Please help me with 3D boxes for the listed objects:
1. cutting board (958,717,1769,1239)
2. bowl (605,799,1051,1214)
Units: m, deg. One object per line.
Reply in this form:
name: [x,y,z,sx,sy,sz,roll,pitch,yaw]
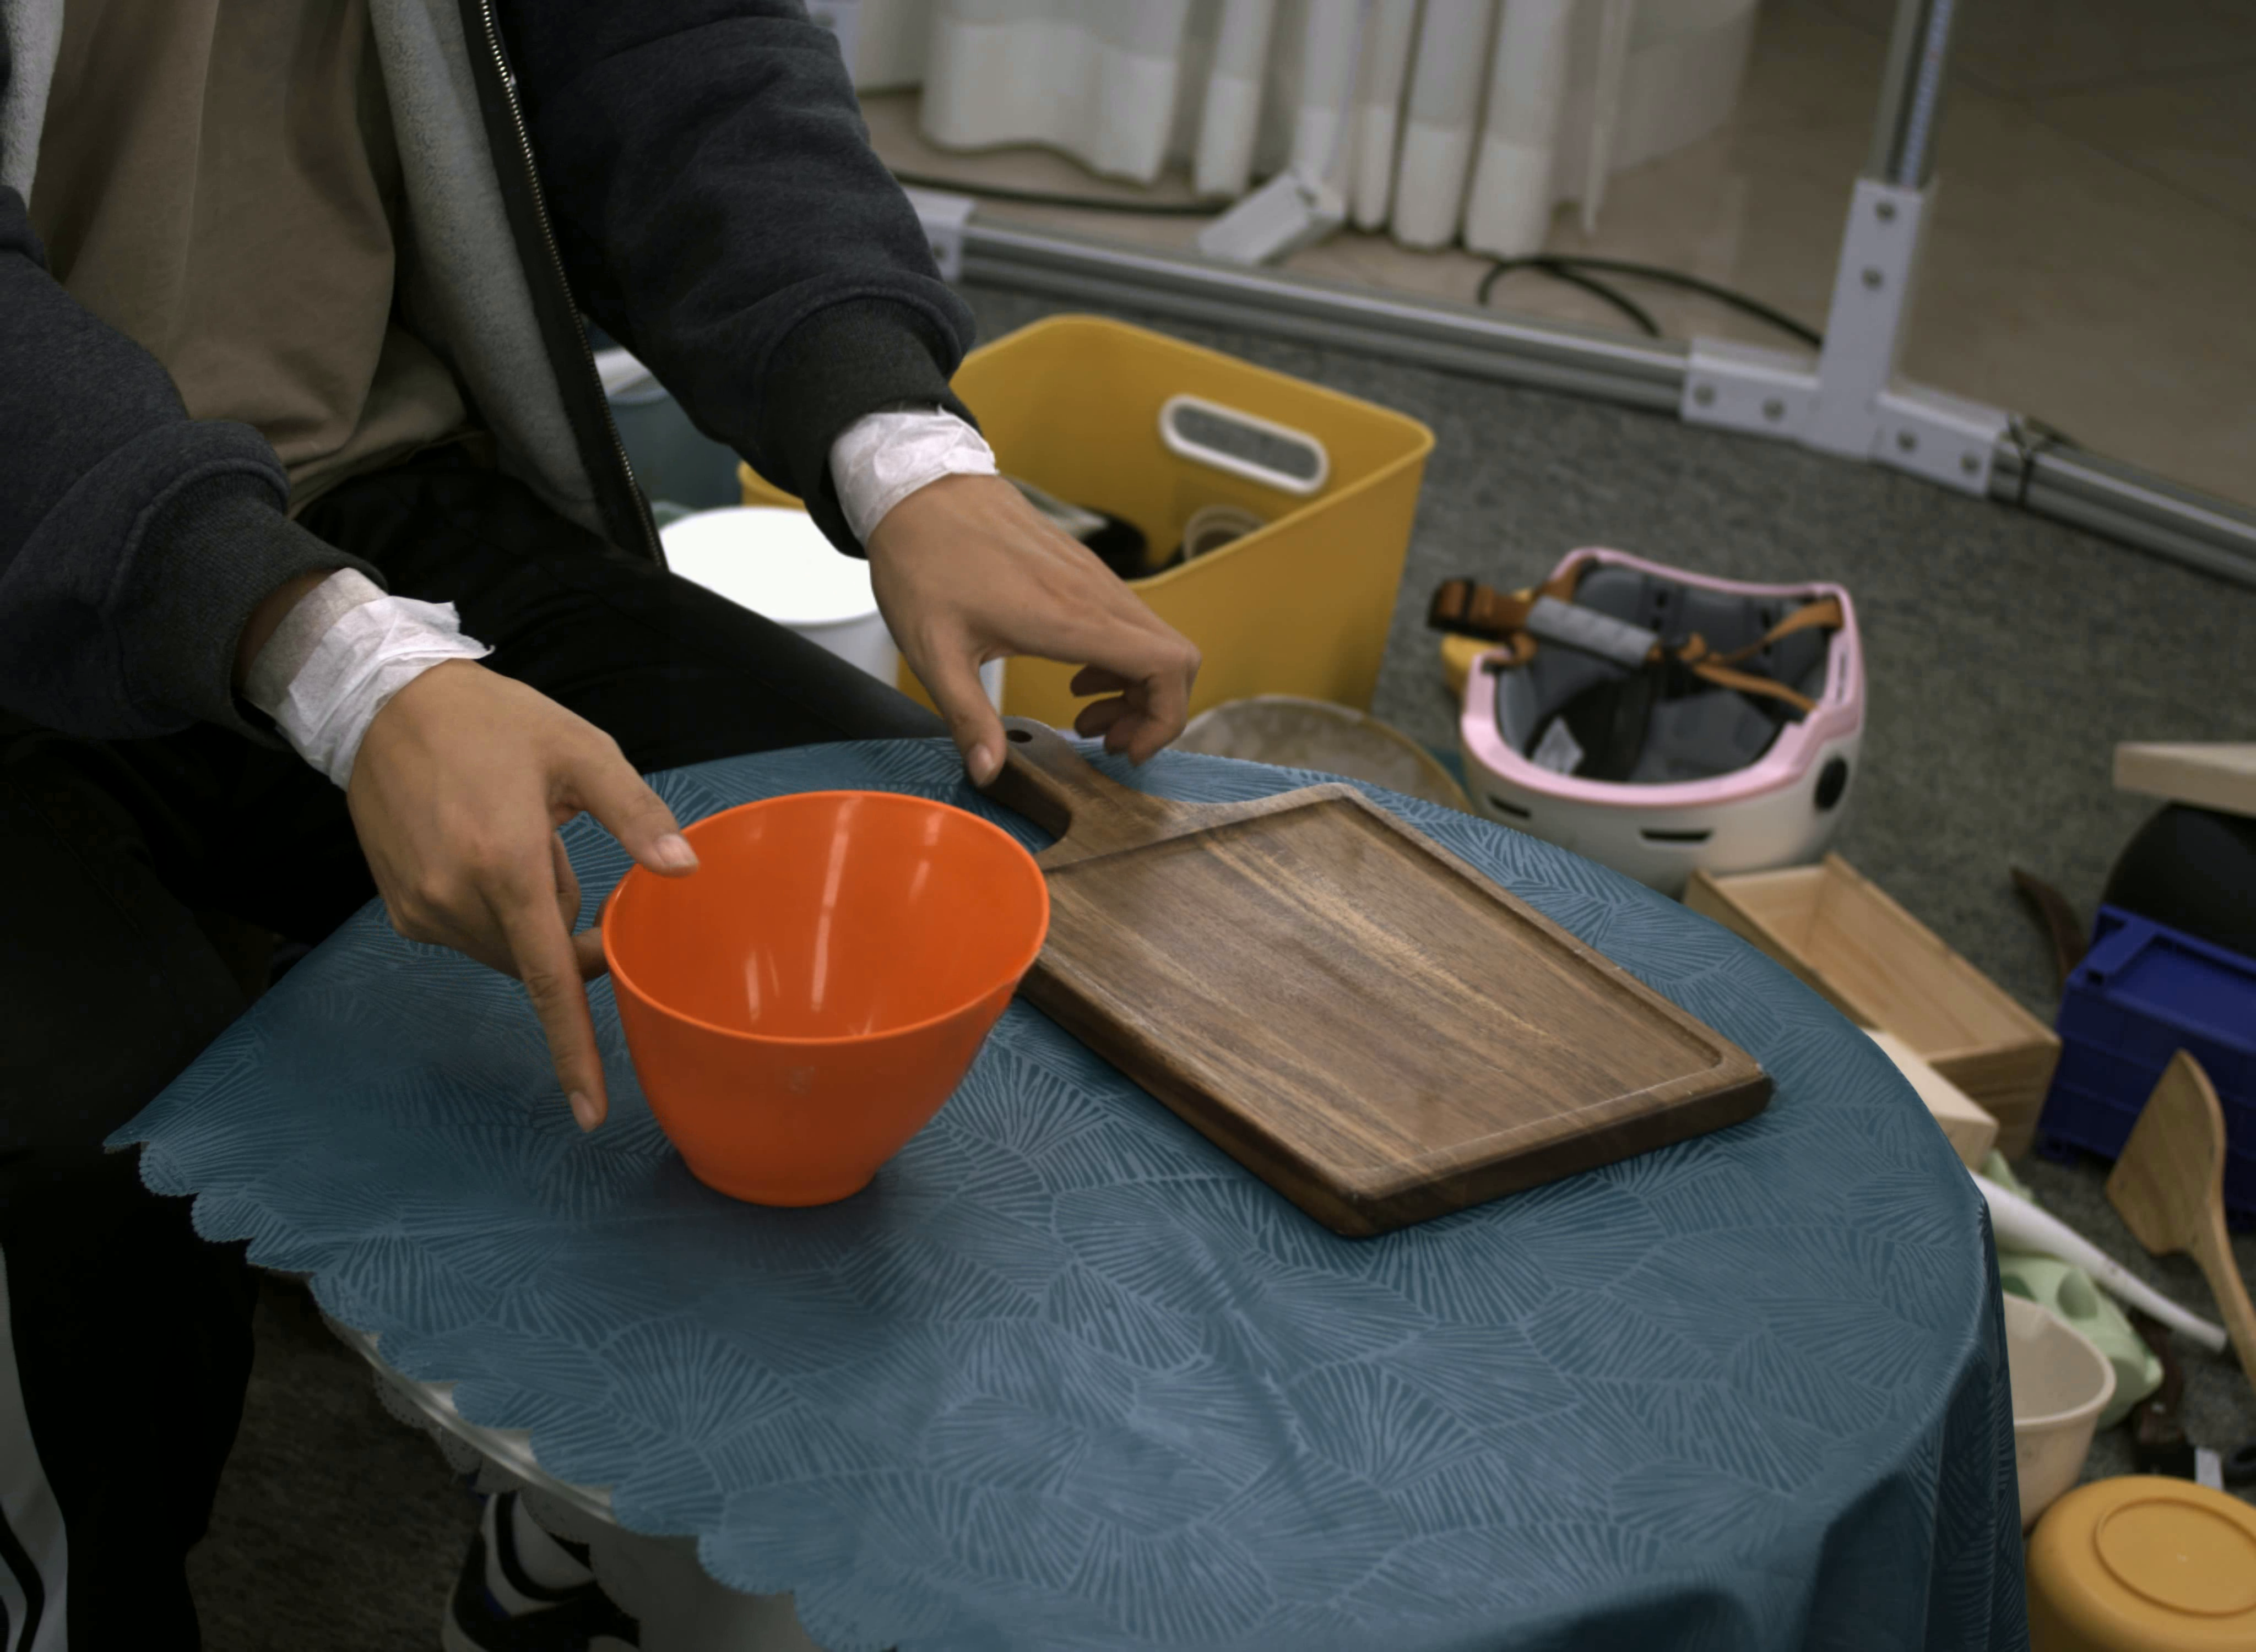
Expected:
cutting board: [0.049,0.040,1.954,0.200,0.023,0.355,-14,33,-35]
bowl: [-0.103,0.066,1.781,0.147,0.104,0.149,5,27,-3]
